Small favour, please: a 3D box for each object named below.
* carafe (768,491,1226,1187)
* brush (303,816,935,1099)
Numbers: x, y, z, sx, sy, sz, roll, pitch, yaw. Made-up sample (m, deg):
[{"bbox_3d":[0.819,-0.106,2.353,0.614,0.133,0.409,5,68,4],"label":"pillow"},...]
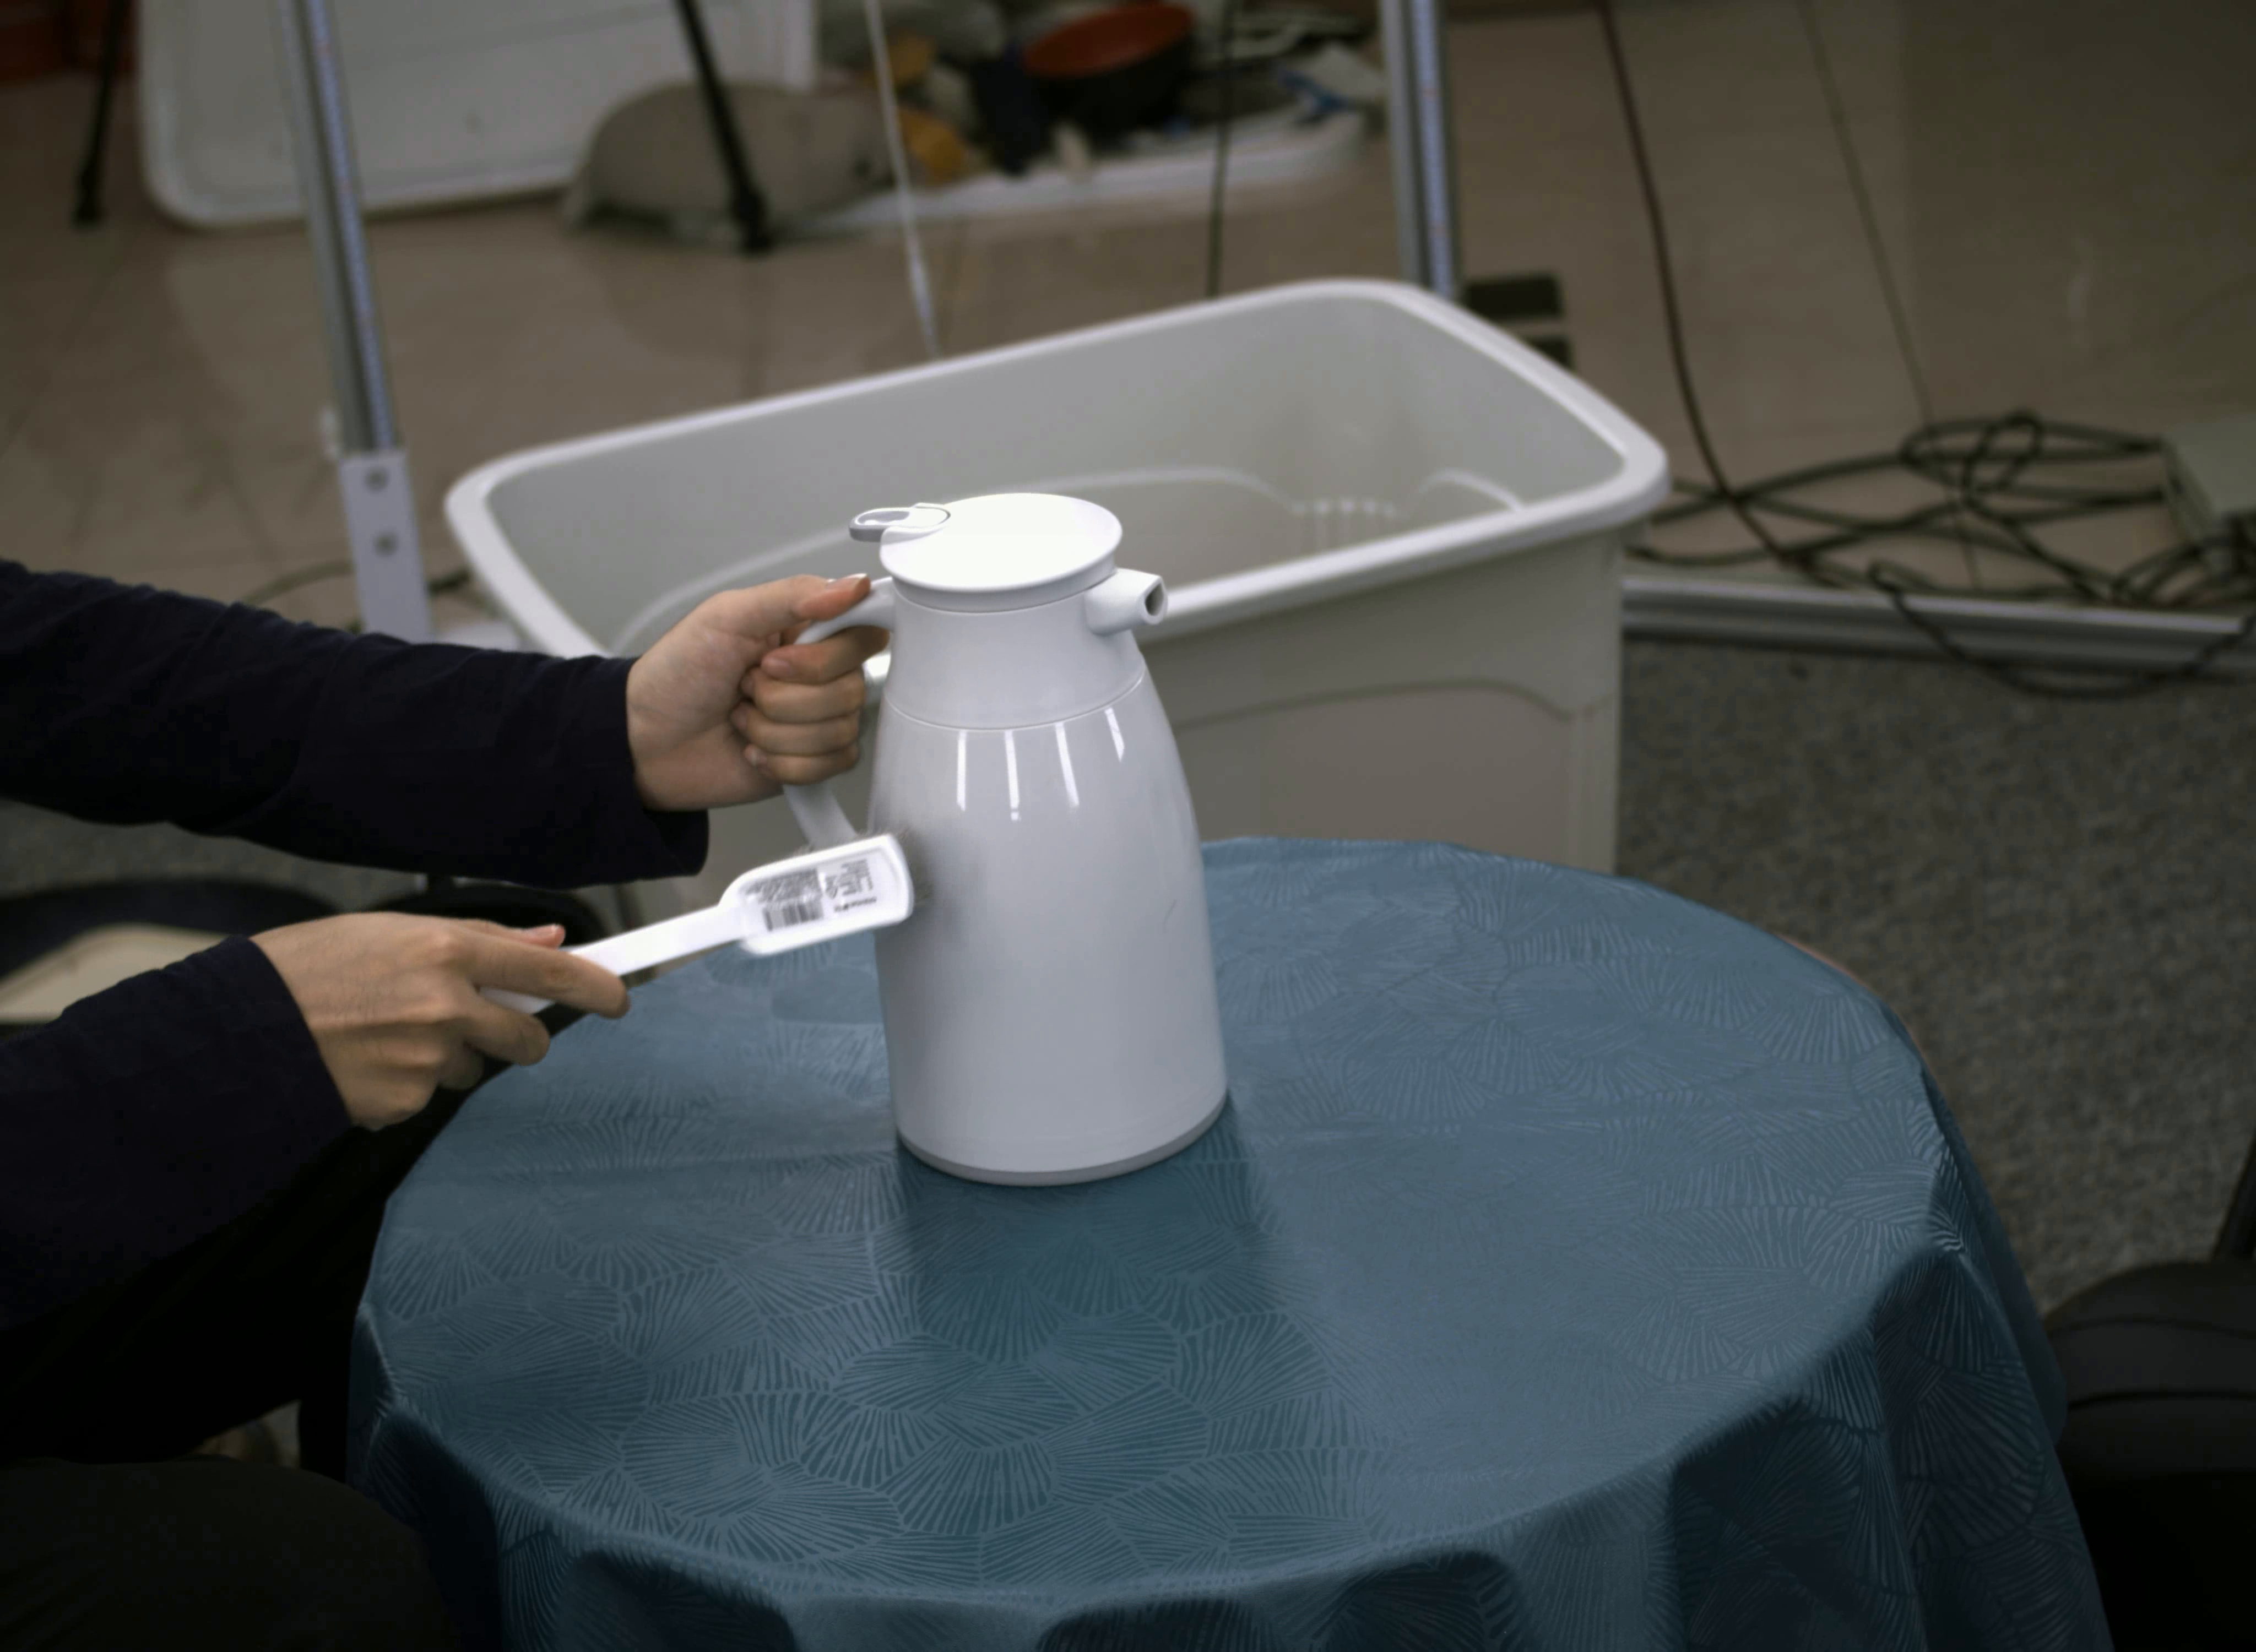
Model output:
[{"bbox_3d":[-0.056,-0.003,2.165,0.167,0.253,0.131,5,28,21],"label":"carafe"},{"bbox_3d":[-0.187,0.048,2.086,0.243,0.034,0.050,-19,10,-7],"label":"brush"}]
